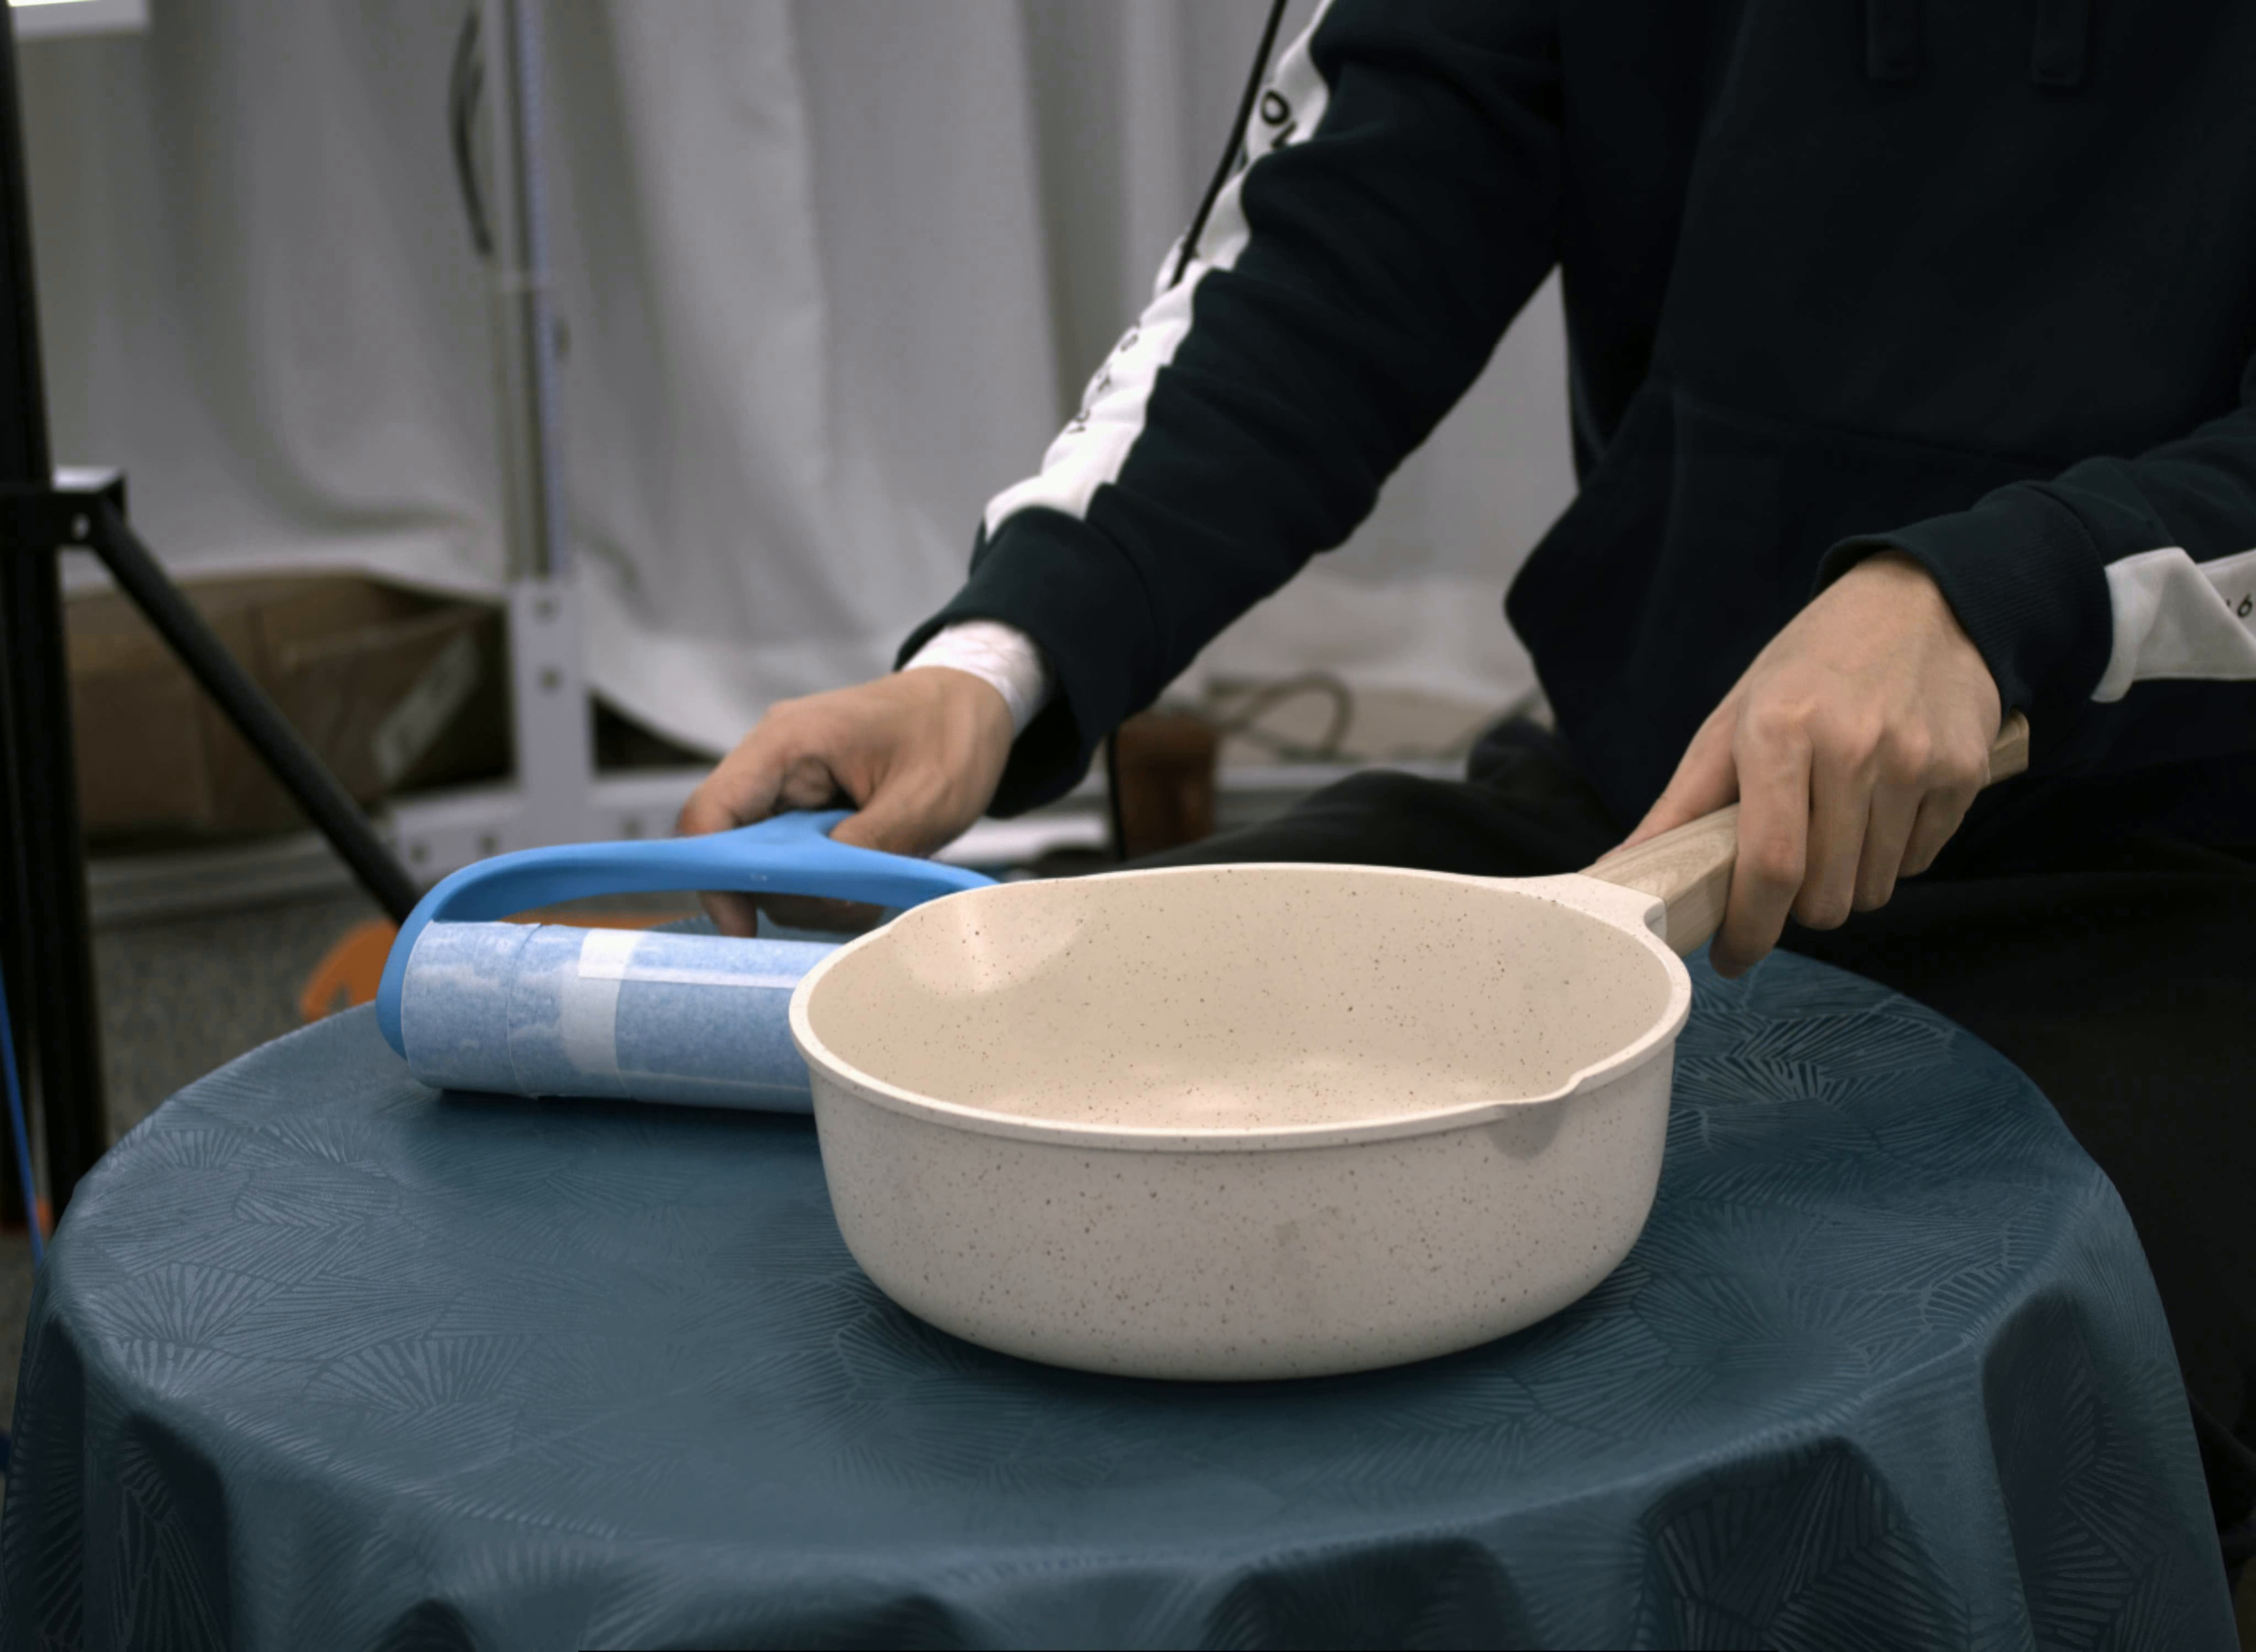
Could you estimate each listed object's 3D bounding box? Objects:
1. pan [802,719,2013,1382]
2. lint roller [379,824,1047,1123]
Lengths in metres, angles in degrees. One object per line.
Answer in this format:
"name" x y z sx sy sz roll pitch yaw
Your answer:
"pan" 0.106 0.059 1.529 0.425 0.102 0.269 -14 18 -36
"lint roller" -0.110 0.033 1.692 0.231 0.067 0.179 0 28 18
